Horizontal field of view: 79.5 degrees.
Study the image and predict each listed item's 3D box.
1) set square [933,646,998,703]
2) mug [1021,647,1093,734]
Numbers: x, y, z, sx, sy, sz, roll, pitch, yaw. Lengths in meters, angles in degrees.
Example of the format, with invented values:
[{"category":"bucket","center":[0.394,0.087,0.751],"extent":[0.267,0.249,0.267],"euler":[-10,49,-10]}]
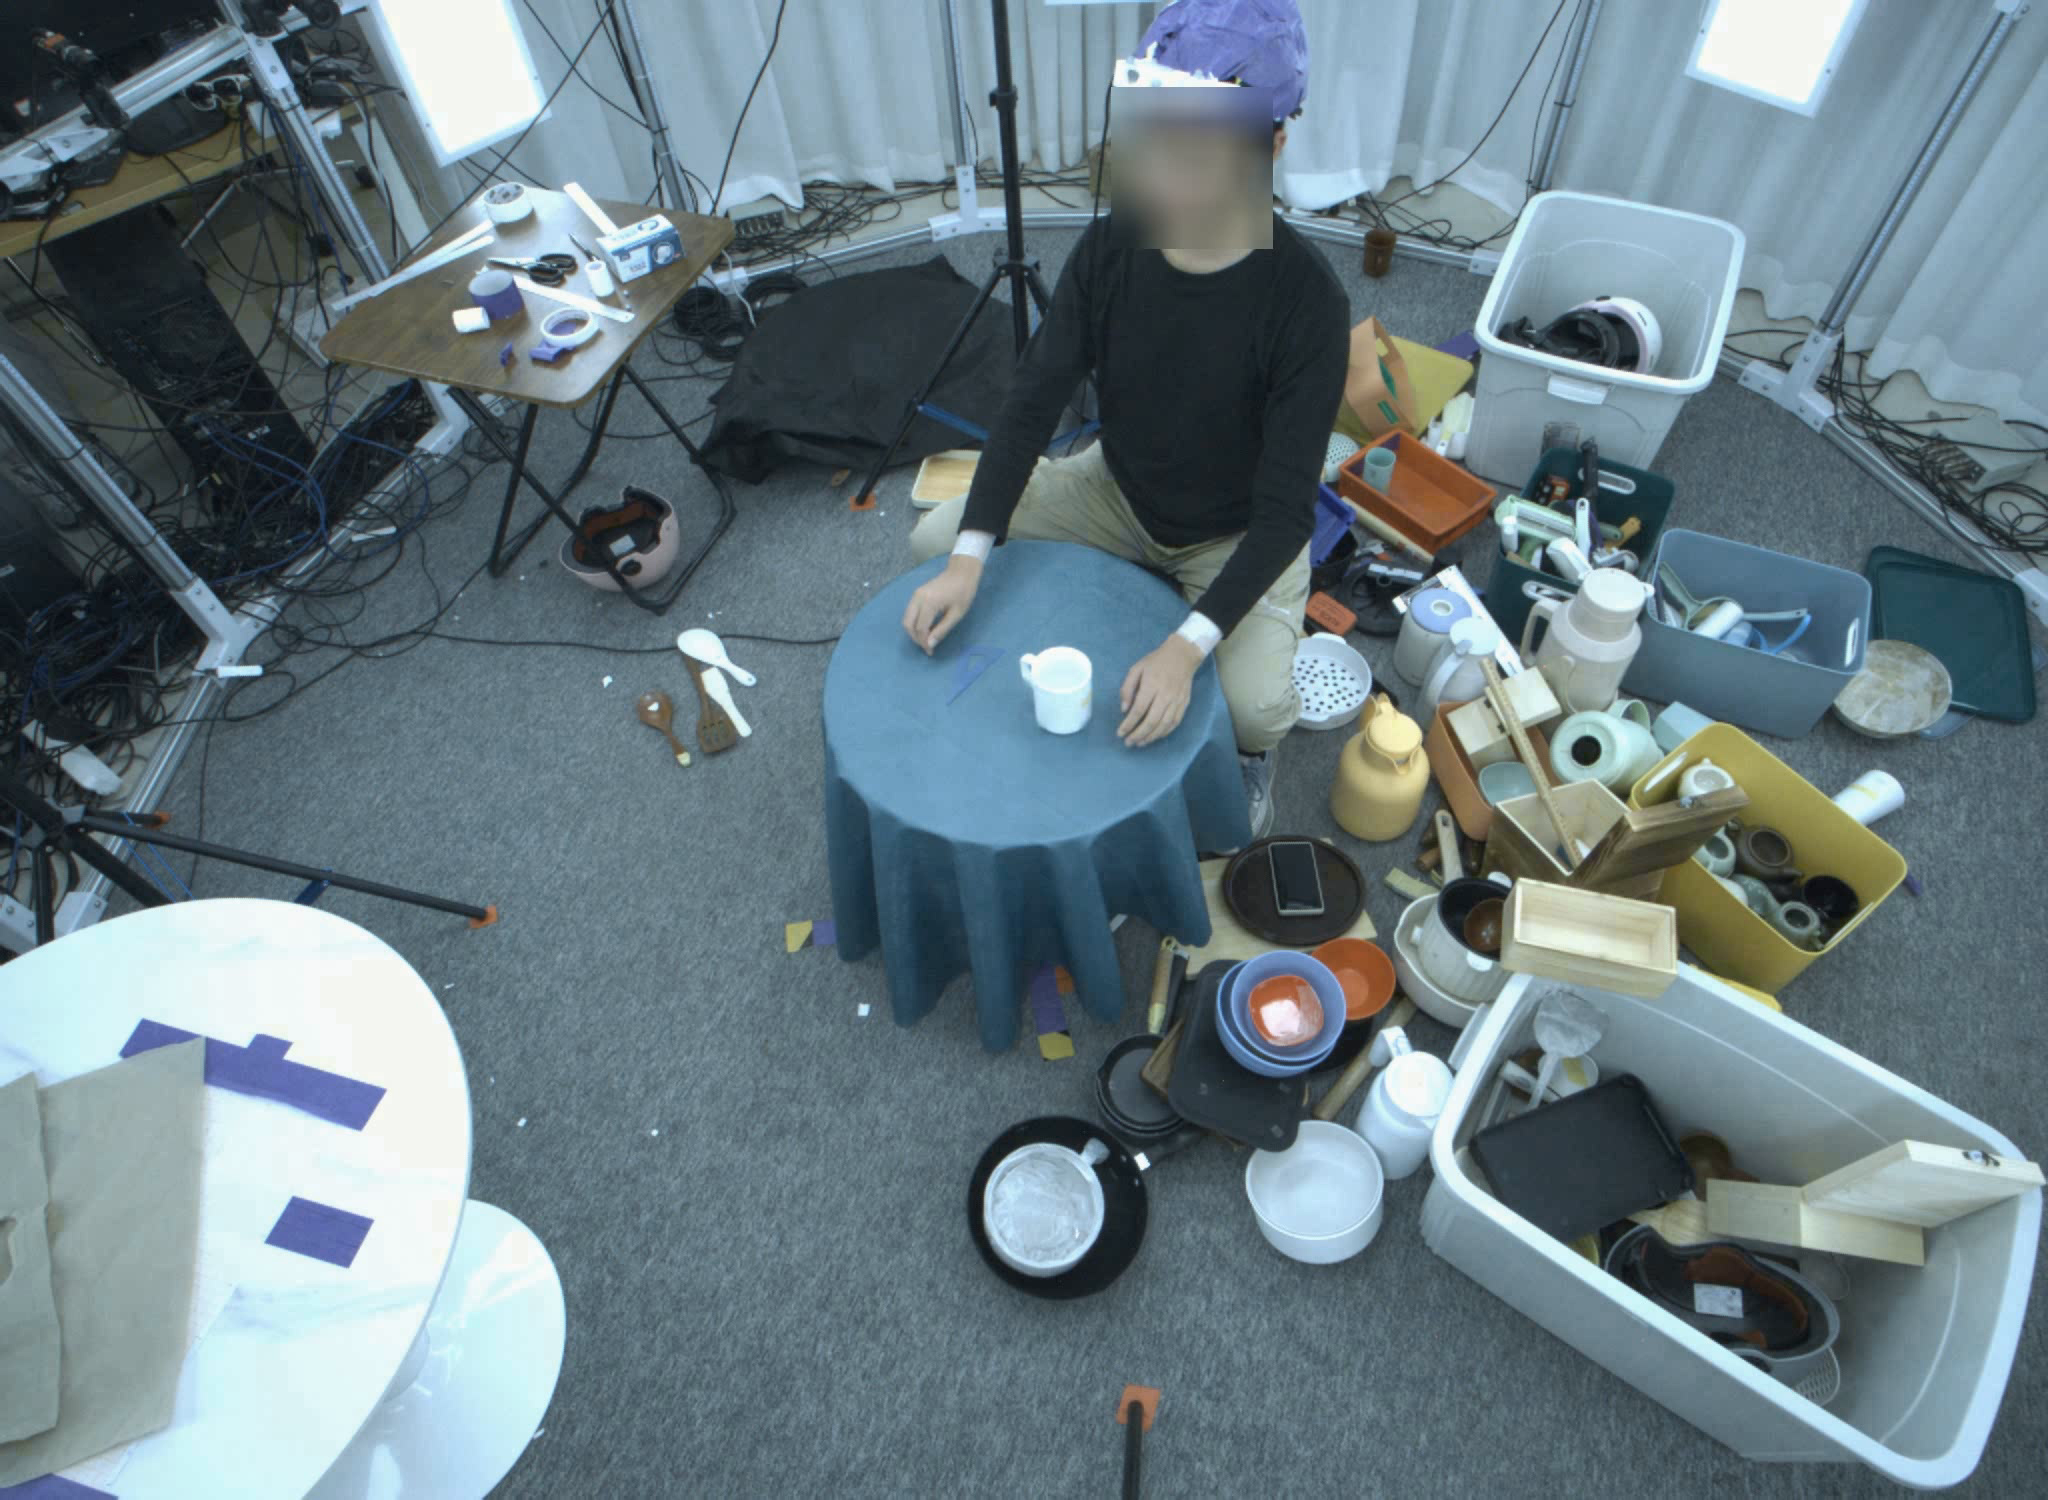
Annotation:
[{"category":"set square","center":[-0.105,-0.124,1.877],"extent":[0.060,0.006,0.133],"euler":[36,64,24]},{"category":"mug","center":[0.045,-0.092,1.788],"extent":[0.116,0.103,0.085],"euler":[33,63,23]}]
